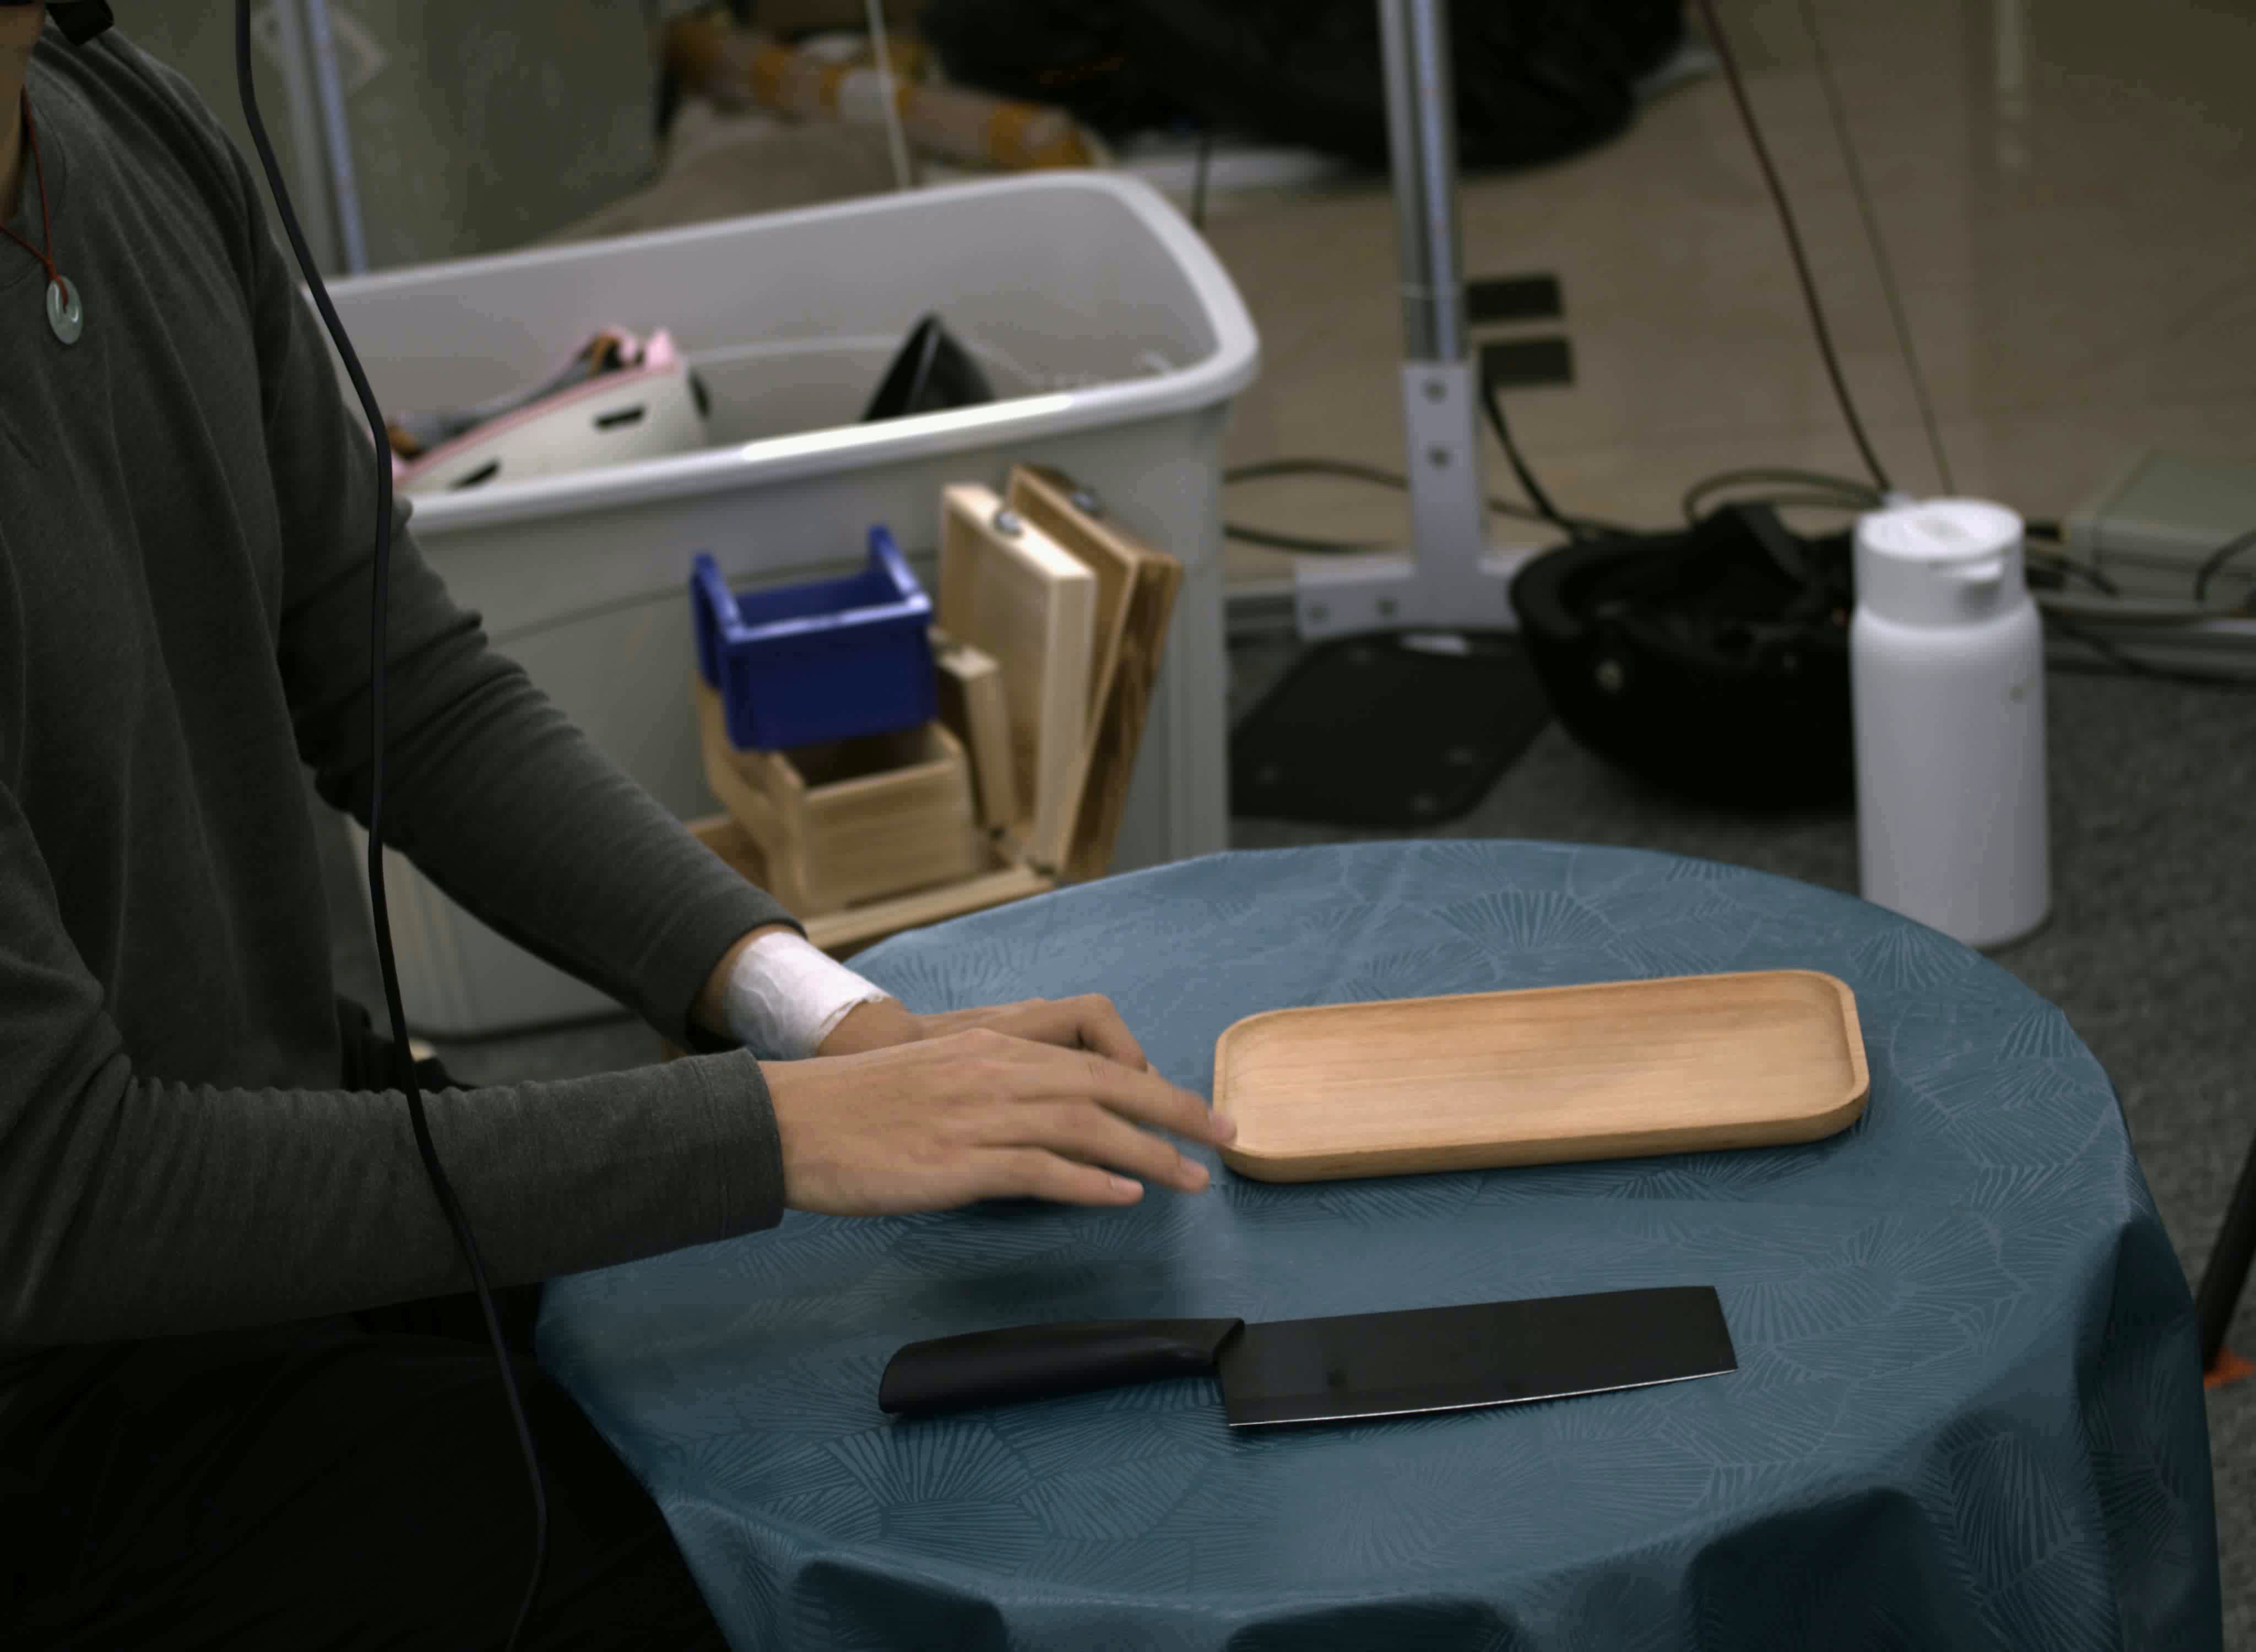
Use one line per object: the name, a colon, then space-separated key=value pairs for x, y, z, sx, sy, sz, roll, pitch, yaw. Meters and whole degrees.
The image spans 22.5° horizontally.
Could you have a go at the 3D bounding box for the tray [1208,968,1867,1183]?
tray: x=0.157 y=0.096 z=2.186 sx=0.250 sy=0.023 sz=0.129 roll=-5 pitch=22 yaw=6

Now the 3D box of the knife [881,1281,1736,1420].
knife: x=0.063 y=0.190 z=2.011 sx=0.302 sy=0.021 sz=0.079 roll=-4 pitch=26 yaw=2
